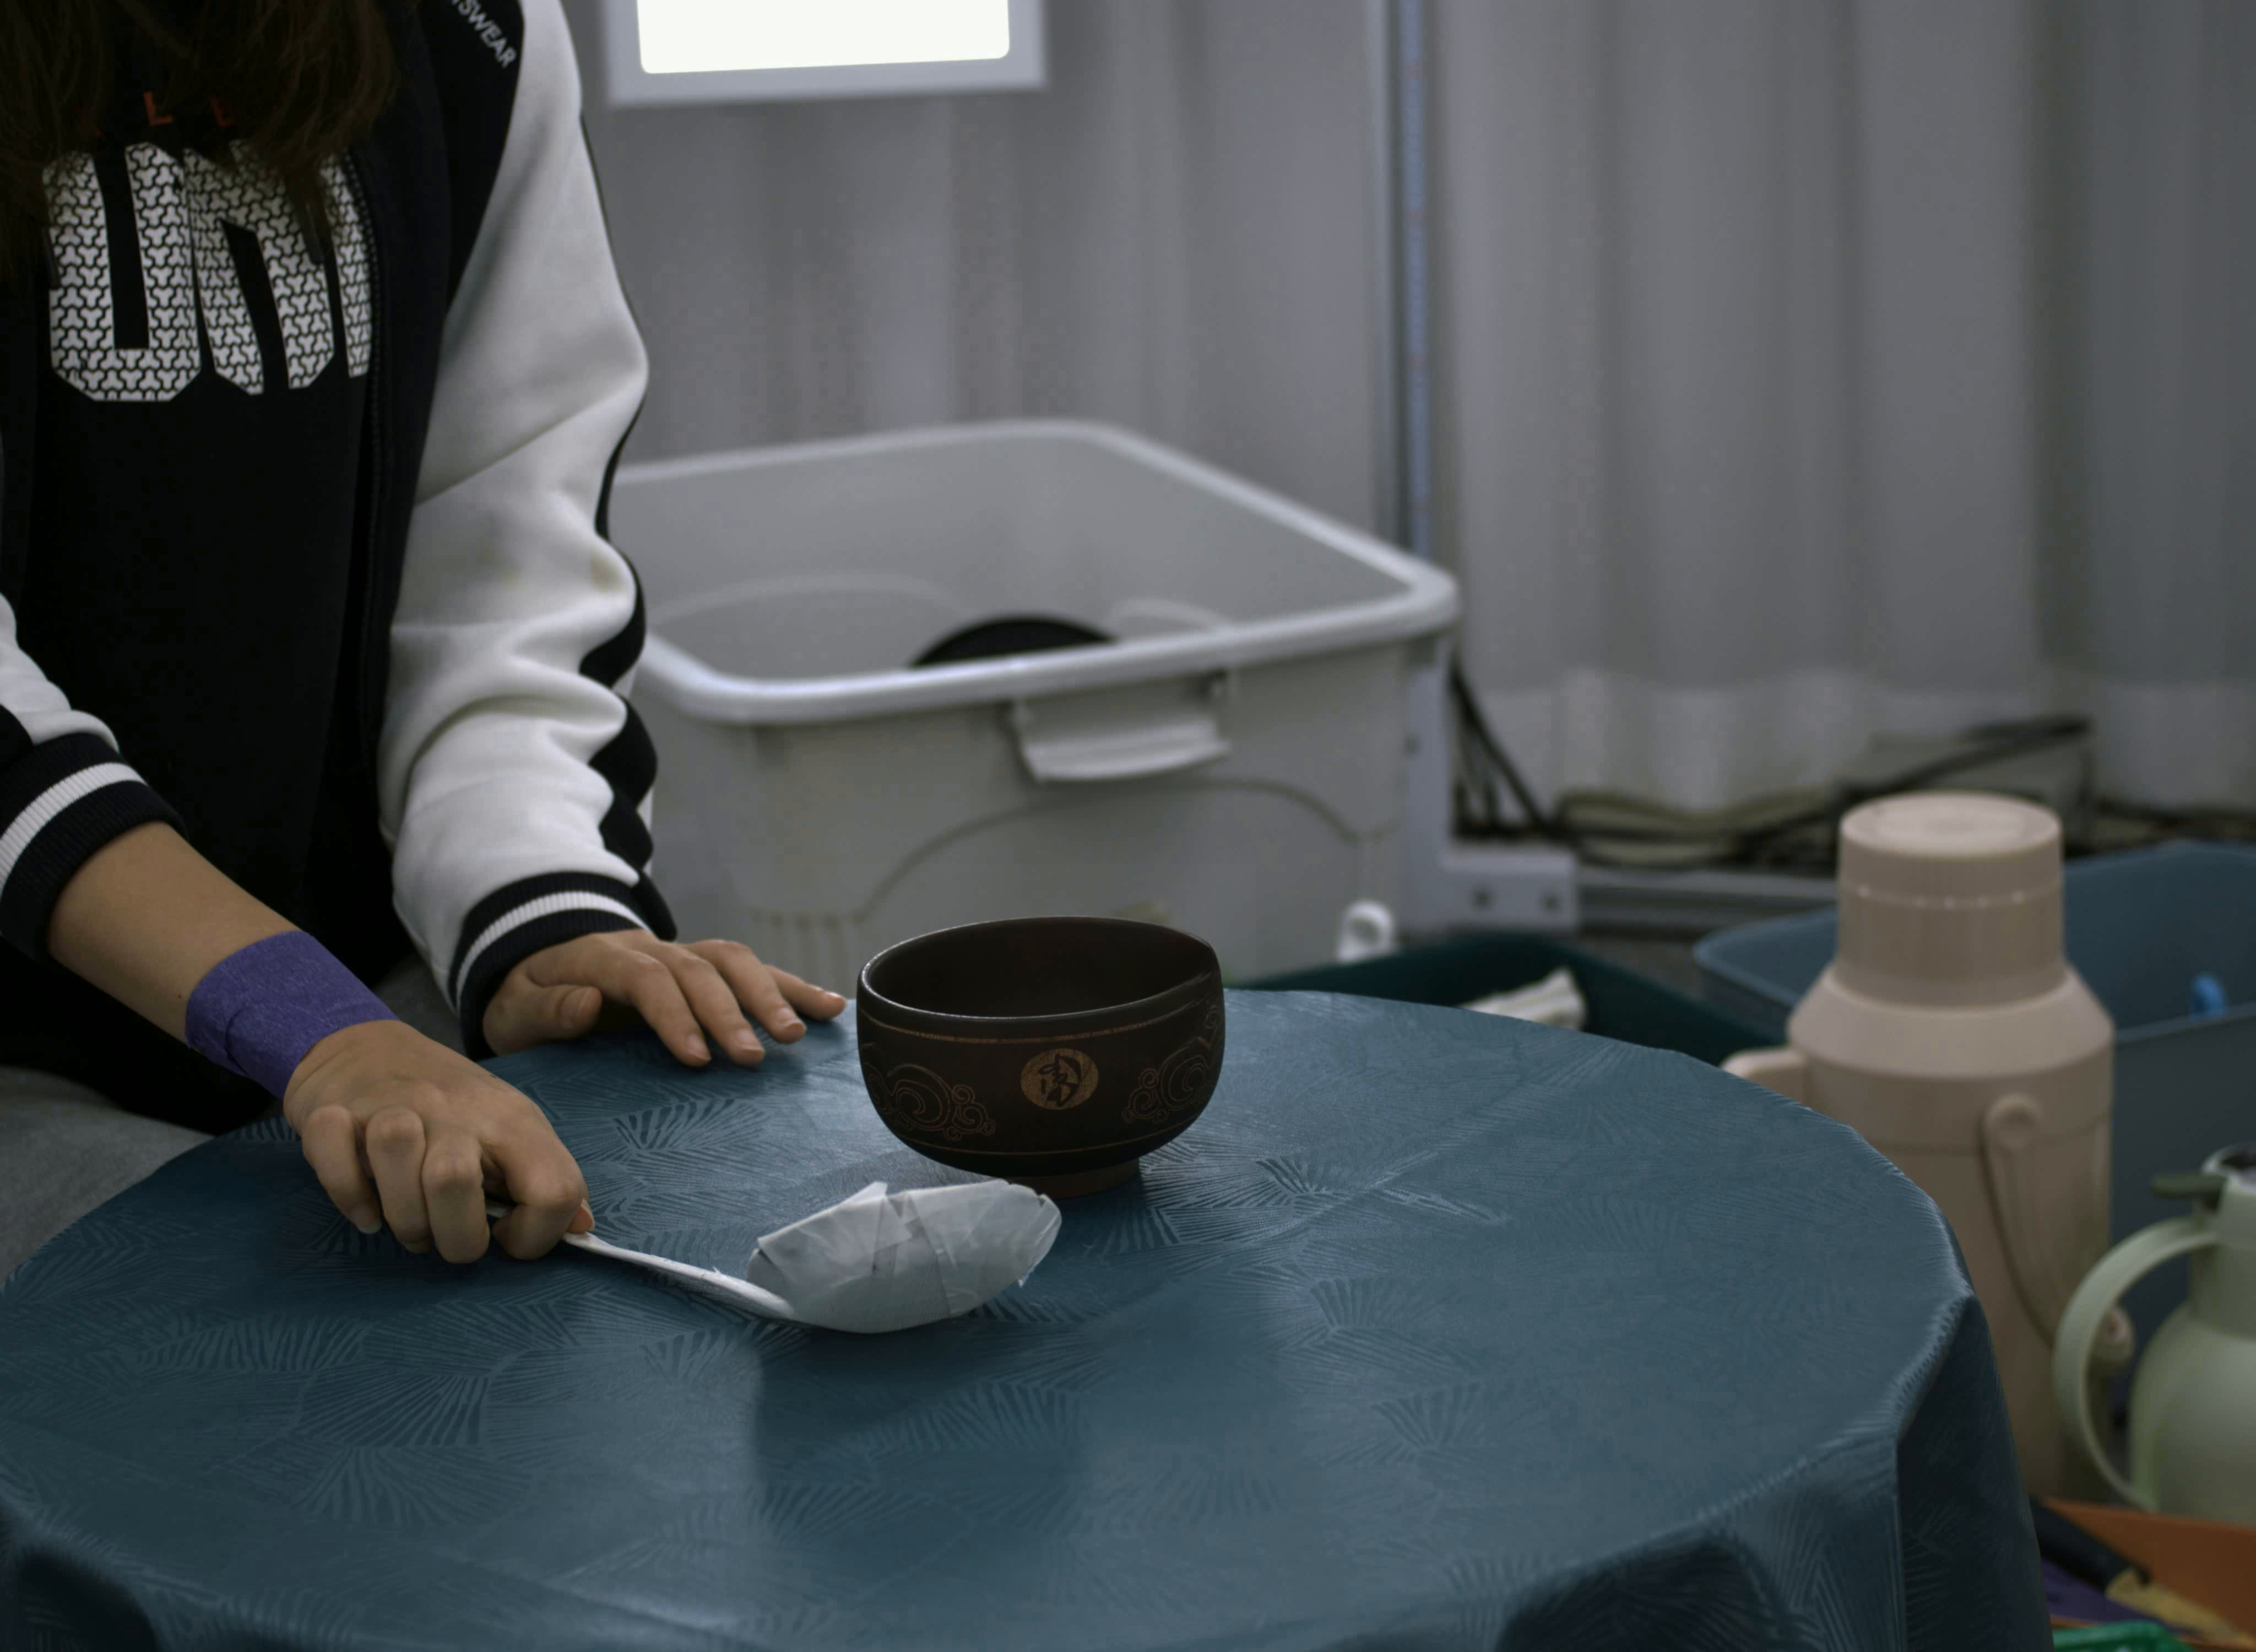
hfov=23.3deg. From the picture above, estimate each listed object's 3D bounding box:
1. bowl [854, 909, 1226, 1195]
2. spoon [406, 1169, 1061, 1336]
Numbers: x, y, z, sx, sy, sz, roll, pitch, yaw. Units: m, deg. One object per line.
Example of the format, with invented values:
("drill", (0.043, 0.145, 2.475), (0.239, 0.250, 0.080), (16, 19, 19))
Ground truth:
("bowl", (-0.027, 0.075, 1.727), (0.117, 0.069, 0.119), (-2, 14, 0))
("spoon", (-0.128, 0.110, 1.658), (0.099, 0.059, 0.279), (19, -5, -41))
